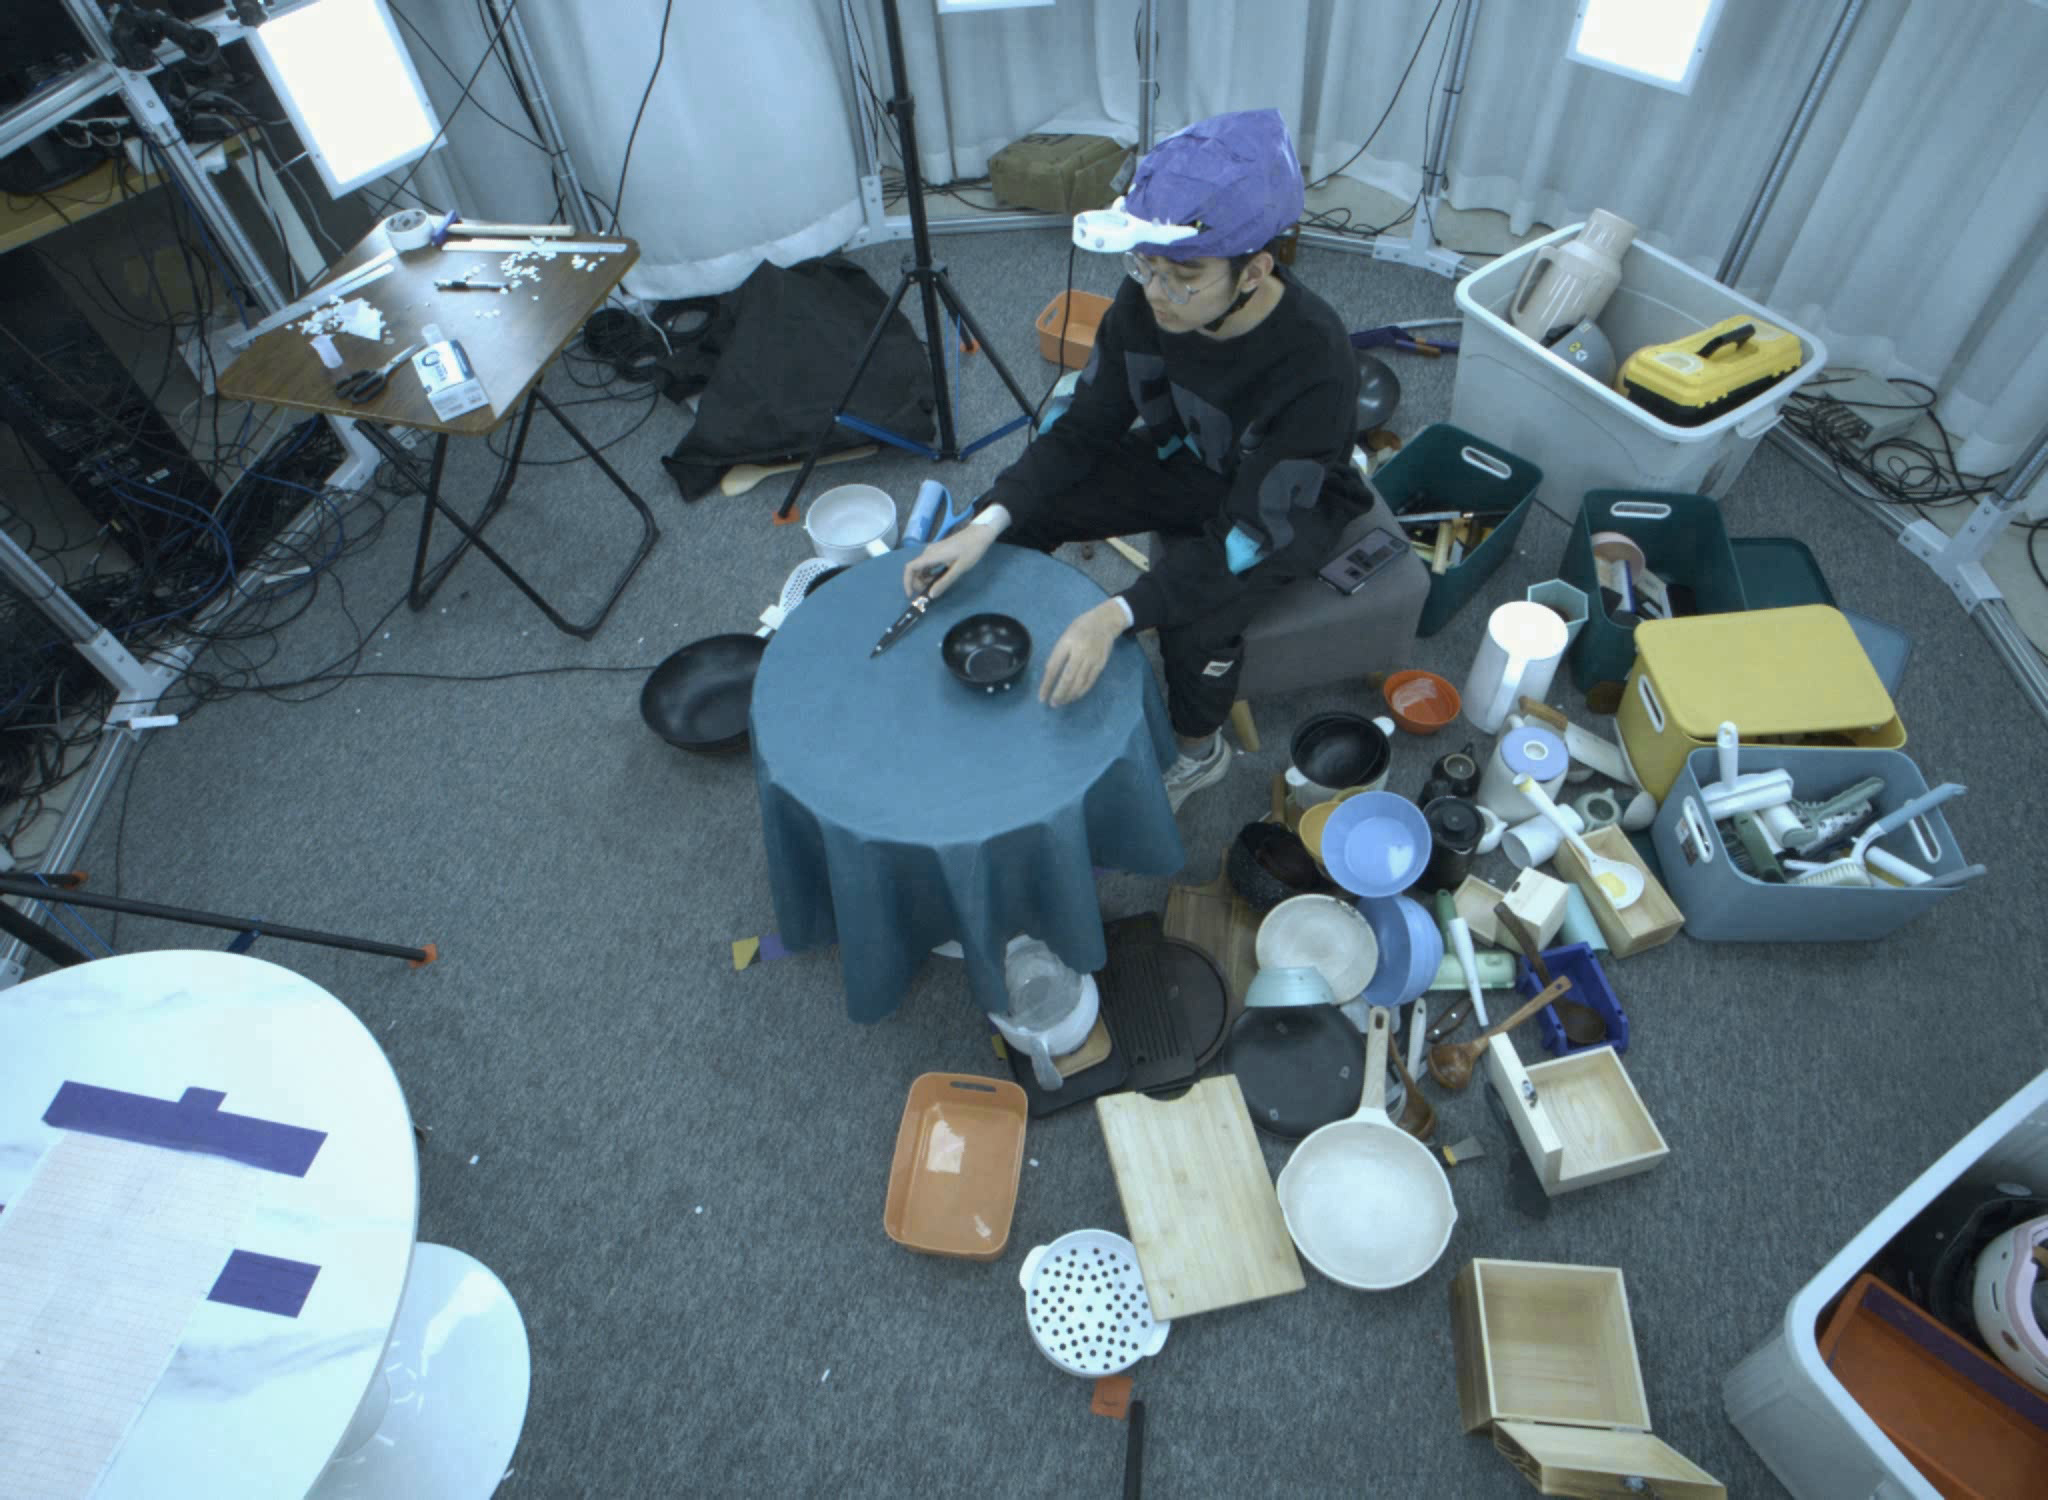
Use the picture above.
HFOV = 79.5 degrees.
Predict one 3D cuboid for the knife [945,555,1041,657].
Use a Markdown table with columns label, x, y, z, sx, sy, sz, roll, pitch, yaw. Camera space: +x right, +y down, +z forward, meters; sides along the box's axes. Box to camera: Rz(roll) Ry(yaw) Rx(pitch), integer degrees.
| label | x | y | z | sx | sy | sz | roll | pitch | yaw |
| --- | --- | --- | --- | --- | --- | --- | --- | --- | --- |
| knife | -0.051 | -0.227 | 1.925 | 0.026 | 0.017 | 0.226 | 40 | 74 | 10 |

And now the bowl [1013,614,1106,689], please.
| label | x | y | z | sx | sy | sz | roll | pitch | yaw |
| --- | --- | --- | --- | --- | --- | --- | --- | --- | --- |
| bowl | 0.054 | -0.140 | 1.857 | 0.140 | 0.050 | 0.138 | 0 | 51 | 1 |
